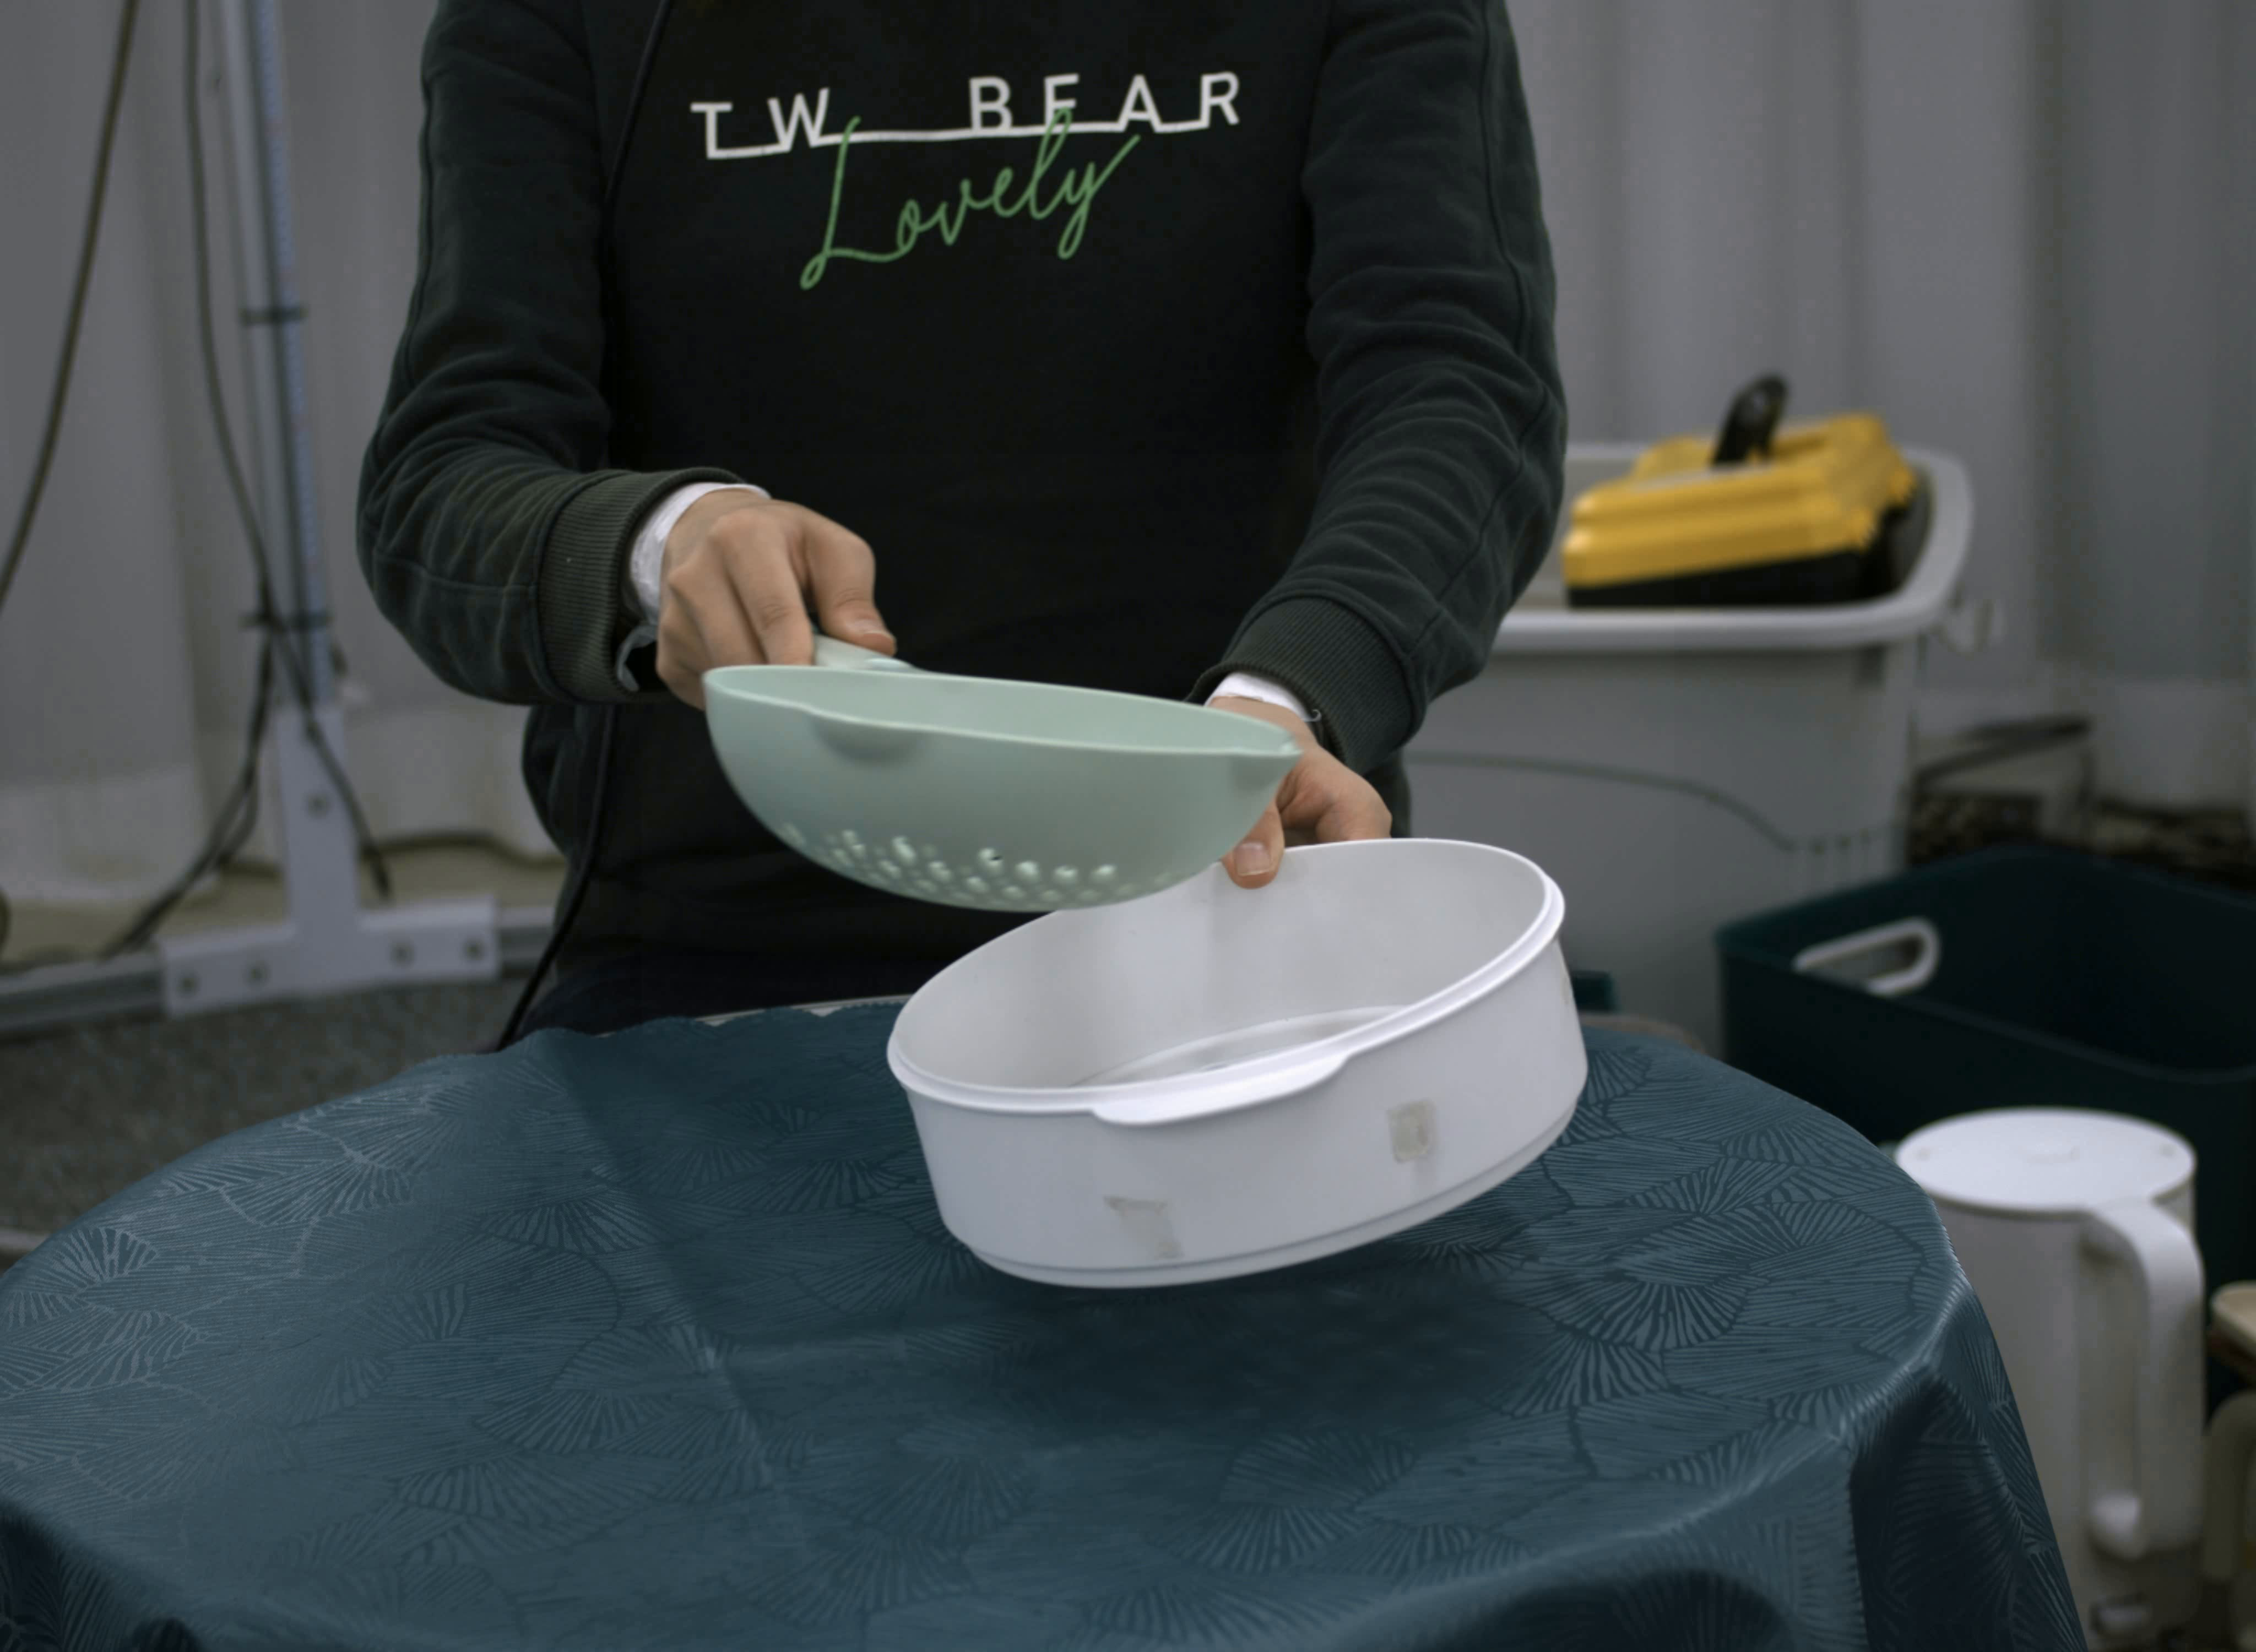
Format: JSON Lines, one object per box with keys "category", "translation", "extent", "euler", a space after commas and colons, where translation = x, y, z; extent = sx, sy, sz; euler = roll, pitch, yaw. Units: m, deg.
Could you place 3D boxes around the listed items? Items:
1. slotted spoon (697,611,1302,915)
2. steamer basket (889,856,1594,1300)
{"category": "slotted spoon", "translation": [-0.071, -0.035, 1.640], "extent": [0.168, 0.075, 0.362], "euler": [5, 14, -20]}
{"category": "steamer basket", "translation": [0.035, 0.072, 1.578], "extent": [0.201, 0.069, 0.232], "euler": [-11, 15, 4]}
